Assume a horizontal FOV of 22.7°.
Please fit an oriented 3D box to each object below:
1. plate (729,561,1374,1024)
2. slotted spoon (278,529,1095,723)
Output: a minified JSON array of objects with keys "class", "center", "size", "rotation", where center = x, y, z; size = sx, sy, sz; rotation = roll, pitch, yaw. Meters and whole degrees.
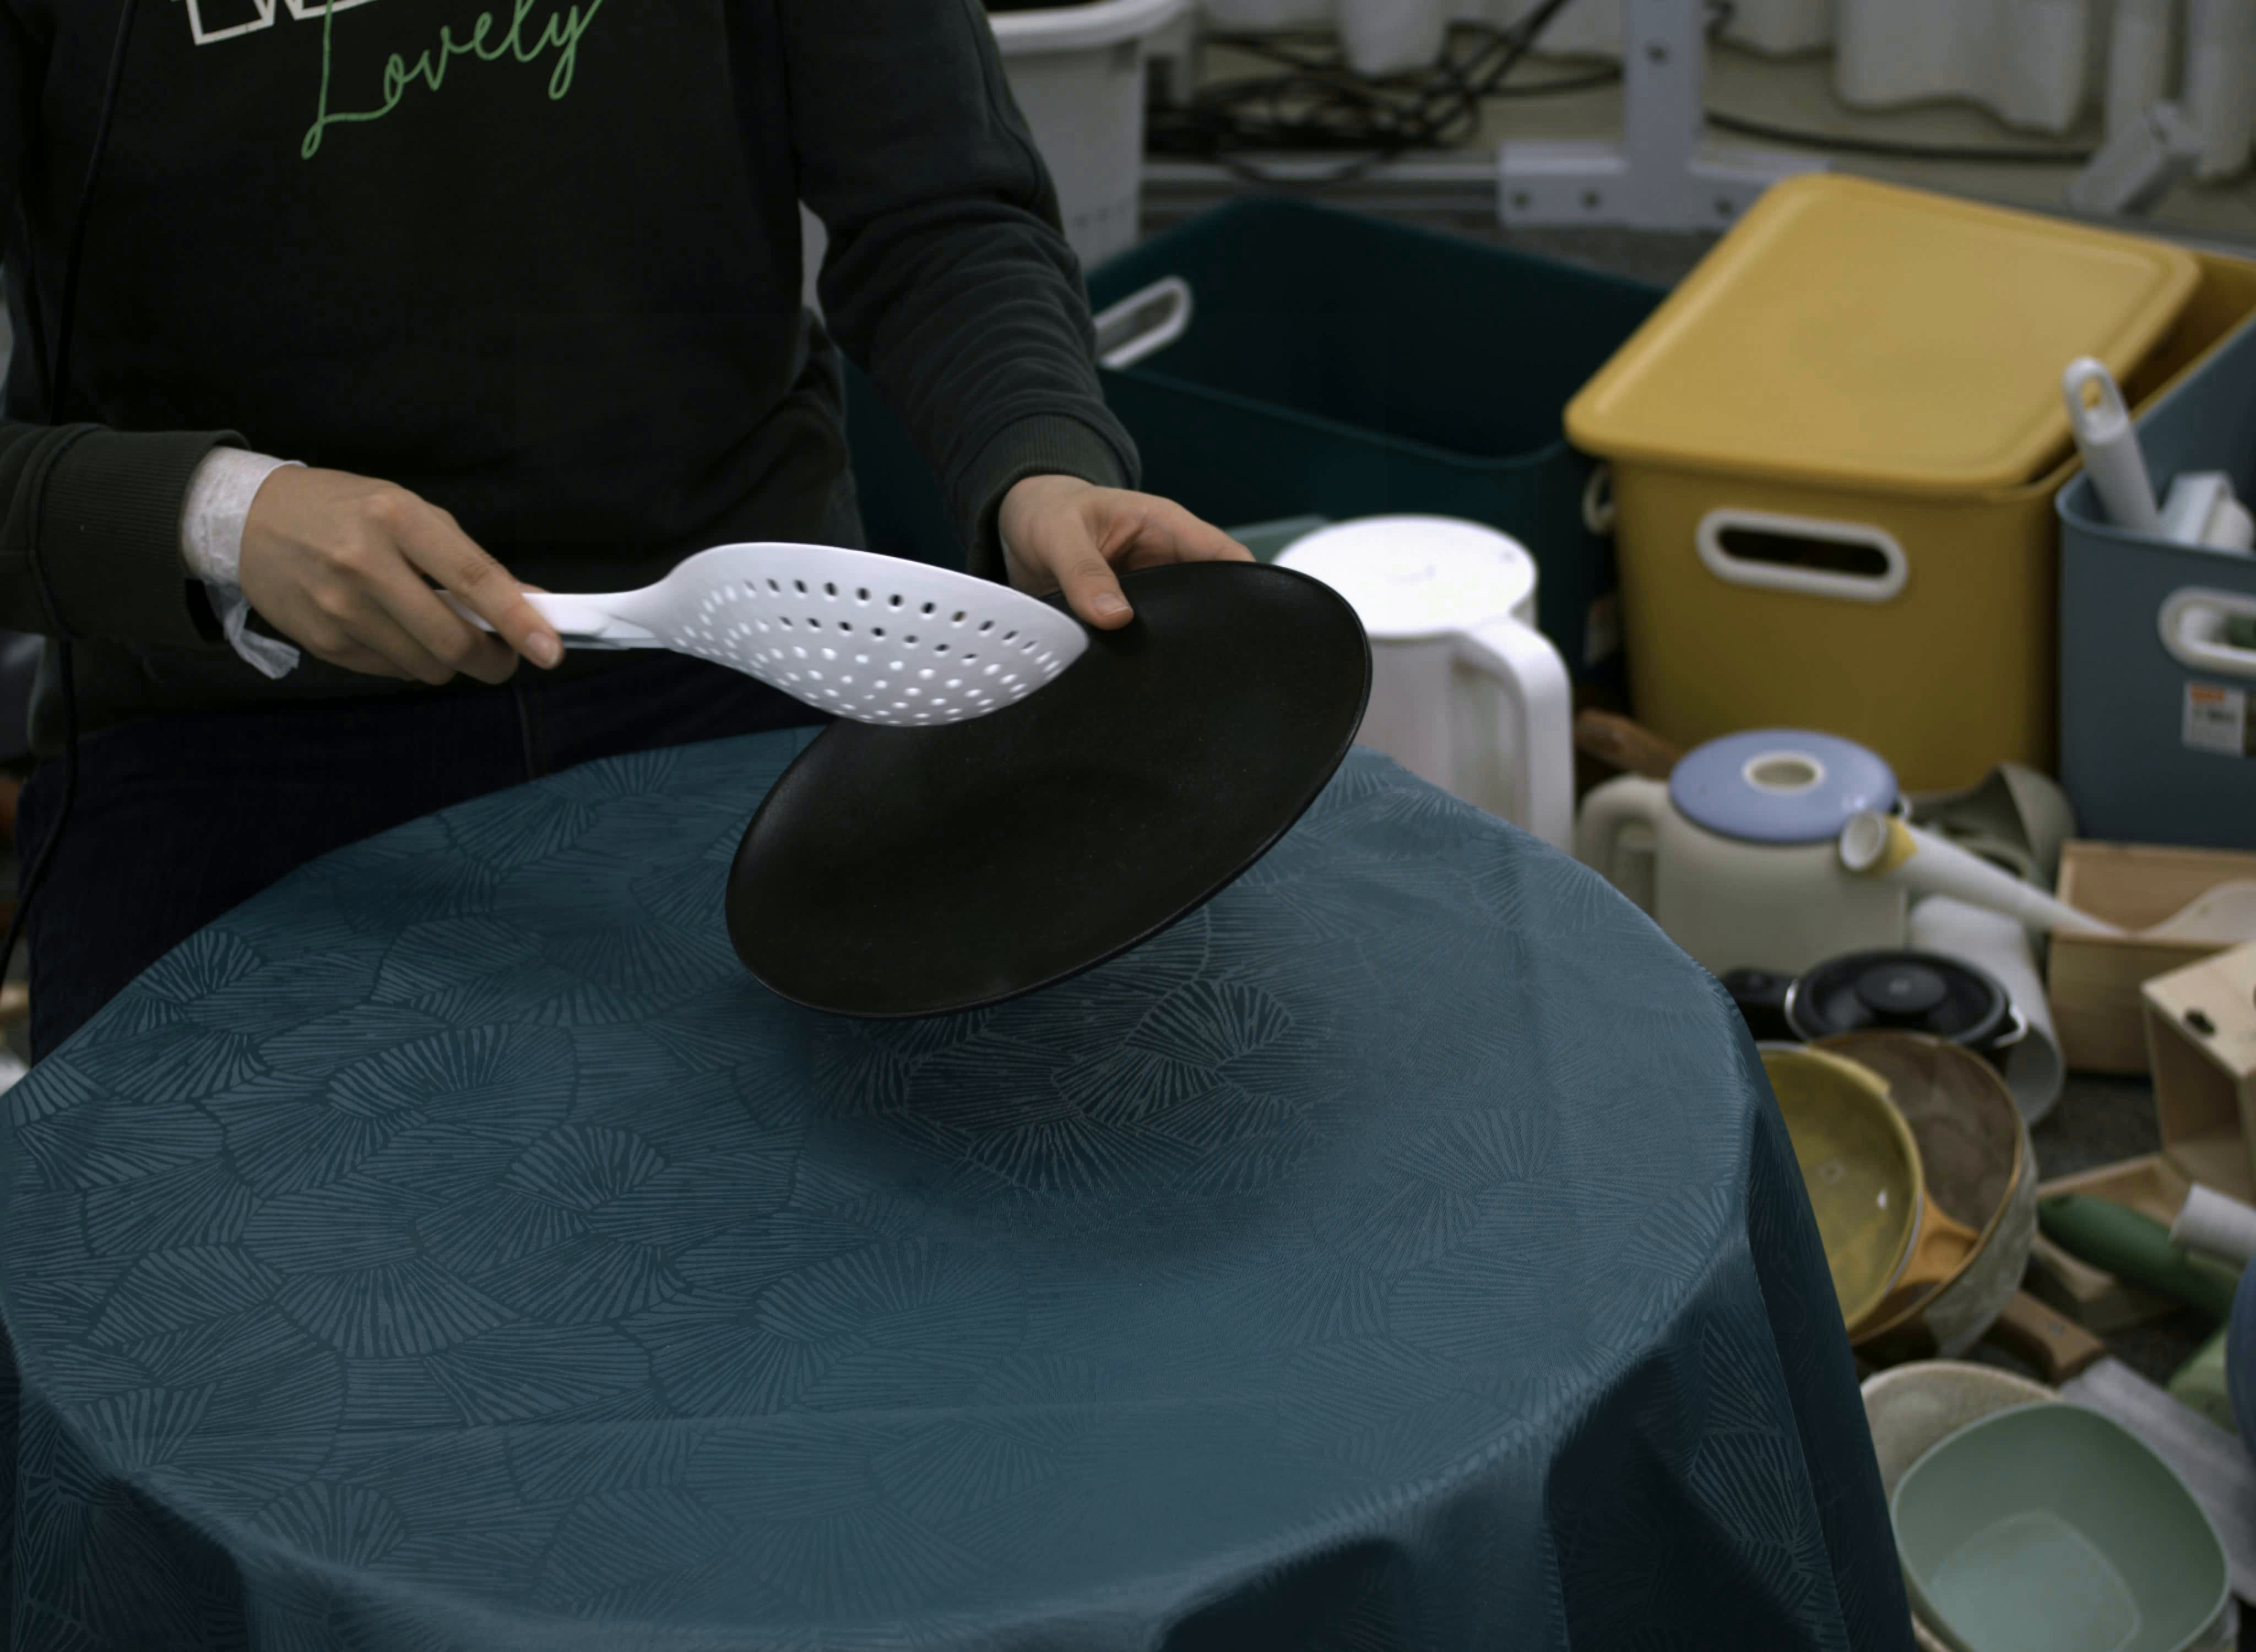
[{"class":"plate","center":[-0.024,-0.008,1.928],"size":[0.242,0.023,0.248],"rotation":[-20,31,13]},{"class":"slotted spoon","center":[-0.166,-0.072,1.960],"size":[0.347,0.046,0.135],"rotation":[7,-13,37]}]
